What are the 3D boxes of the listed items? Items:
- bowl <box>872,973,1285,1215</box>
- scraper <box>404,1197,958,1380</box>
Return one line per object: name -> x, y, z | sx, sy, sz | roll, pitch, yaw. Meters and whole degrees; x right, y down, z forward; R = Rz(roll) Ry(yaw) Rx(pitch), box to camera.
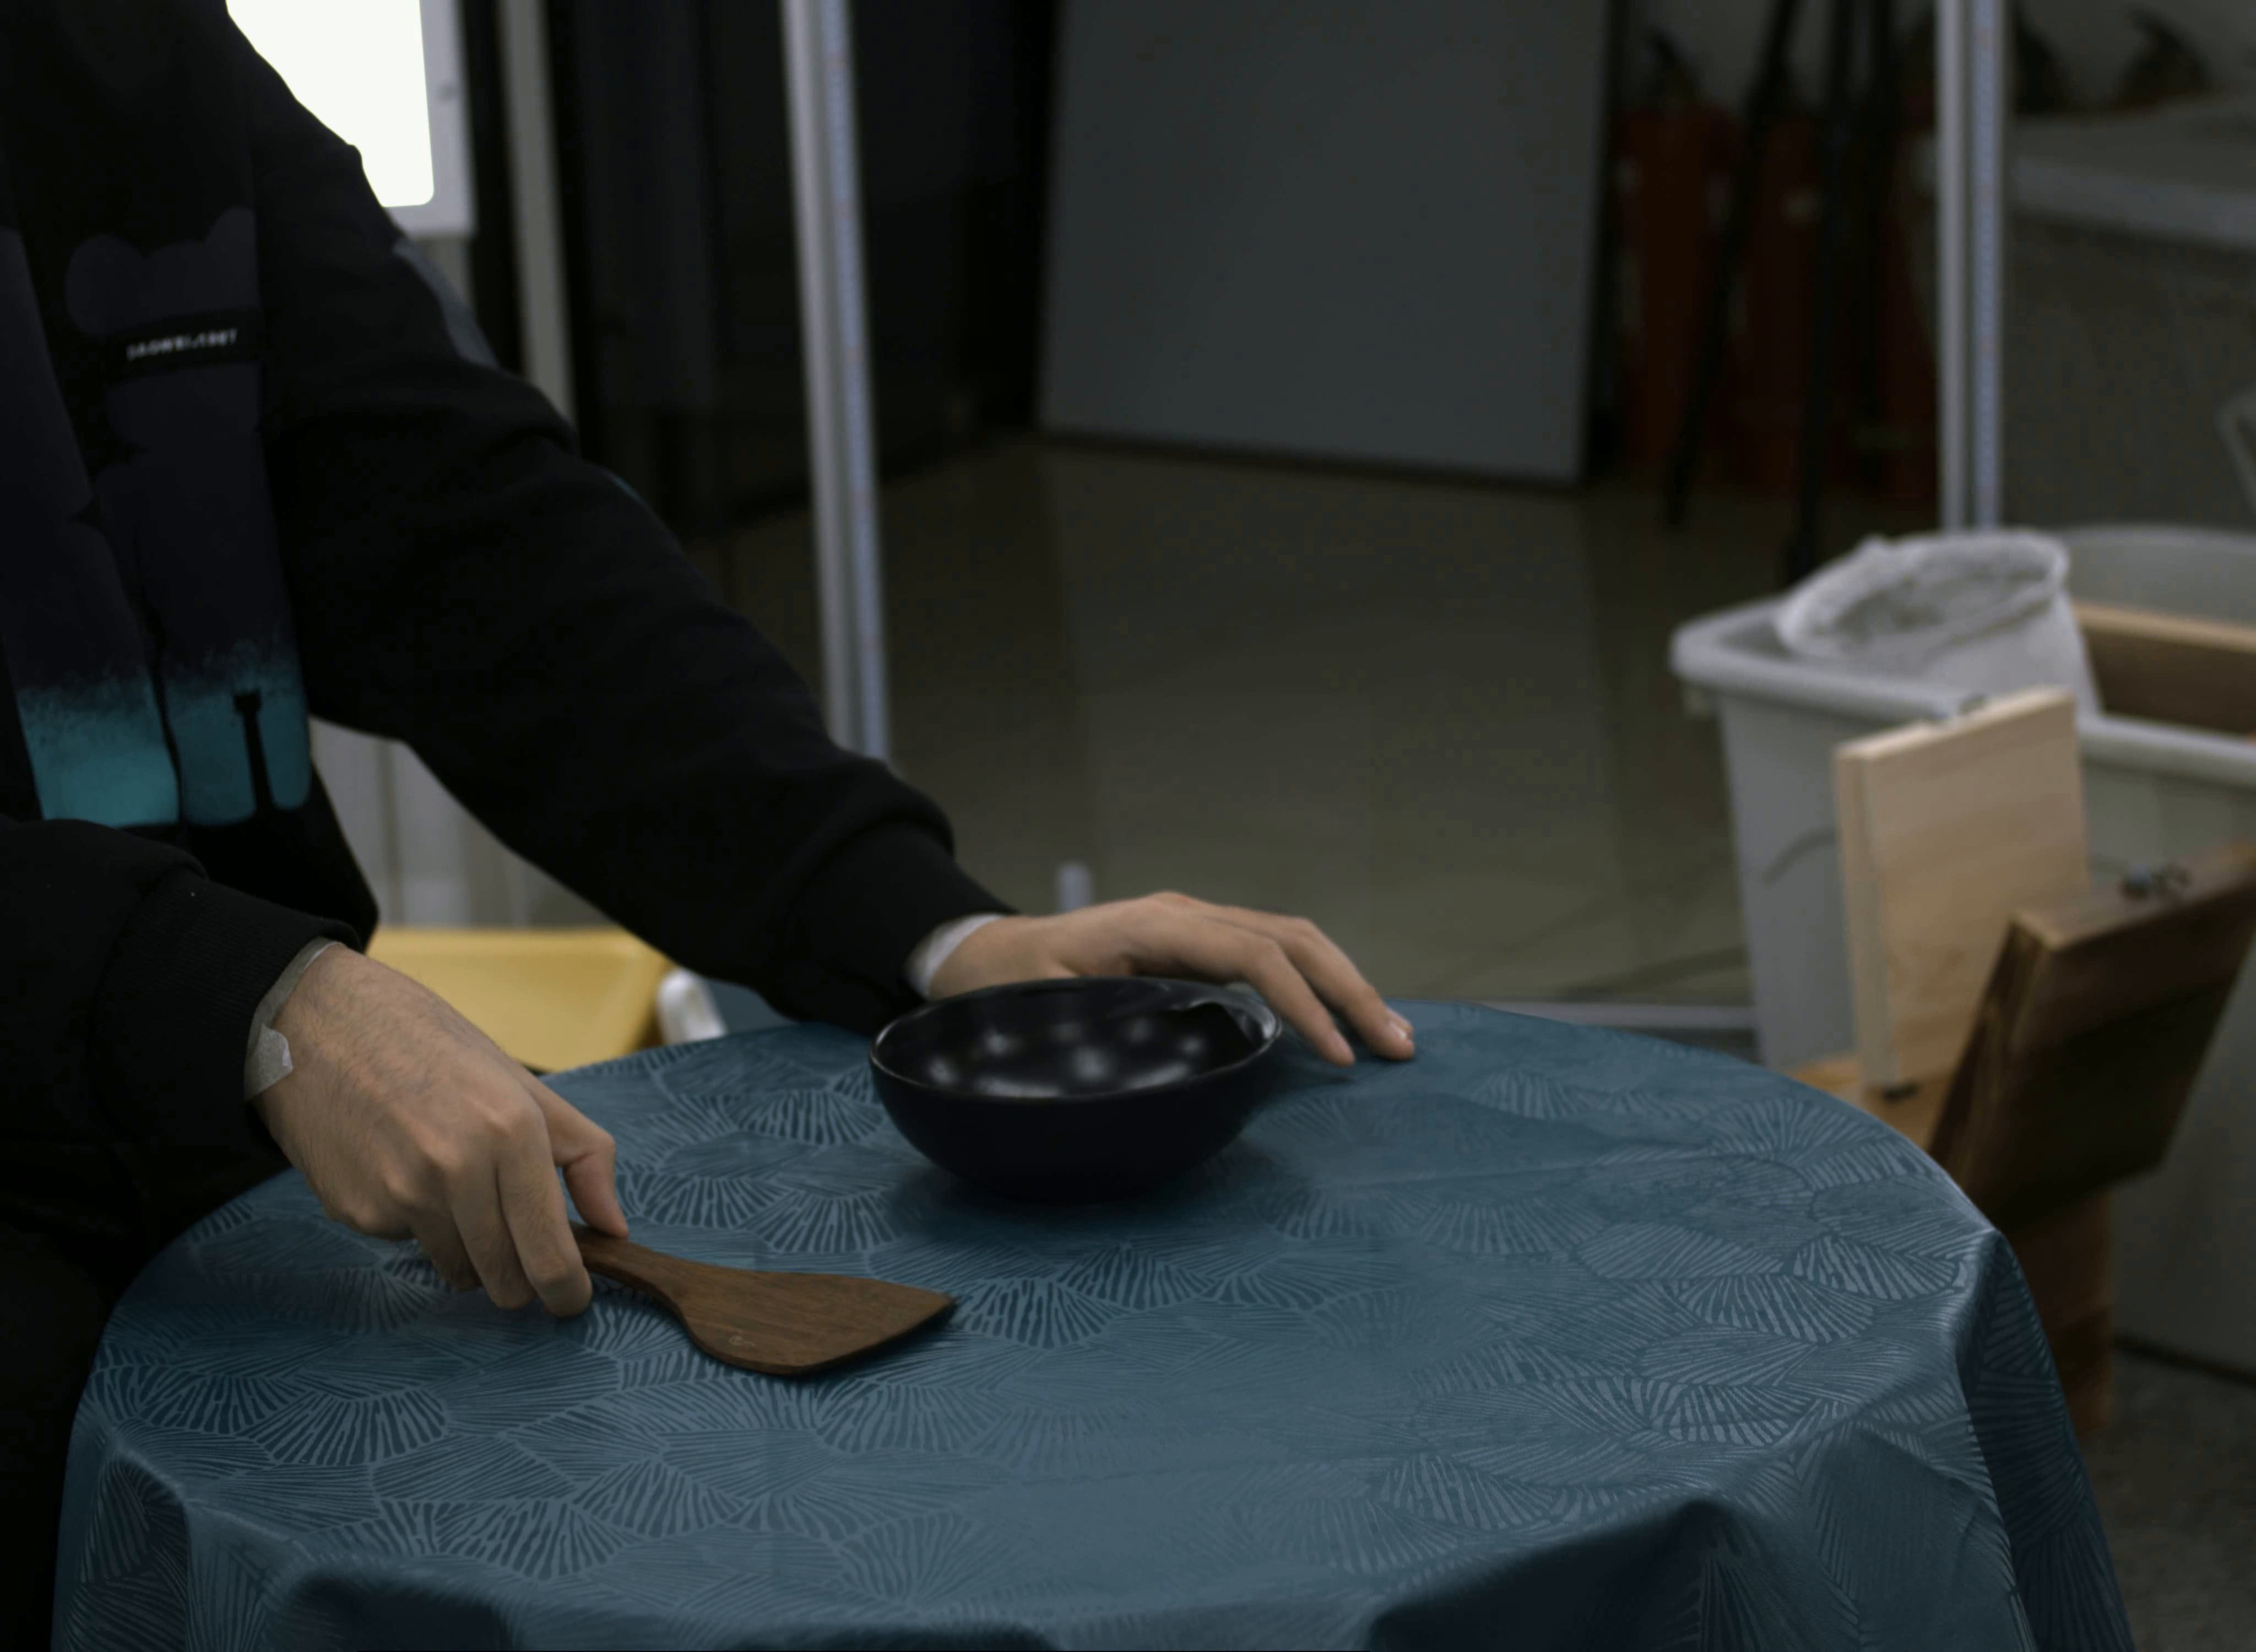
bowl -> -0.014, 0.093, 1.789 | 0.138, 0.050, 0.140 | -6, 16, 1
scraper -> -0.148, 0.142, 1.697 | 0.213, 0.011, 0.074 | 12, 21, 39
